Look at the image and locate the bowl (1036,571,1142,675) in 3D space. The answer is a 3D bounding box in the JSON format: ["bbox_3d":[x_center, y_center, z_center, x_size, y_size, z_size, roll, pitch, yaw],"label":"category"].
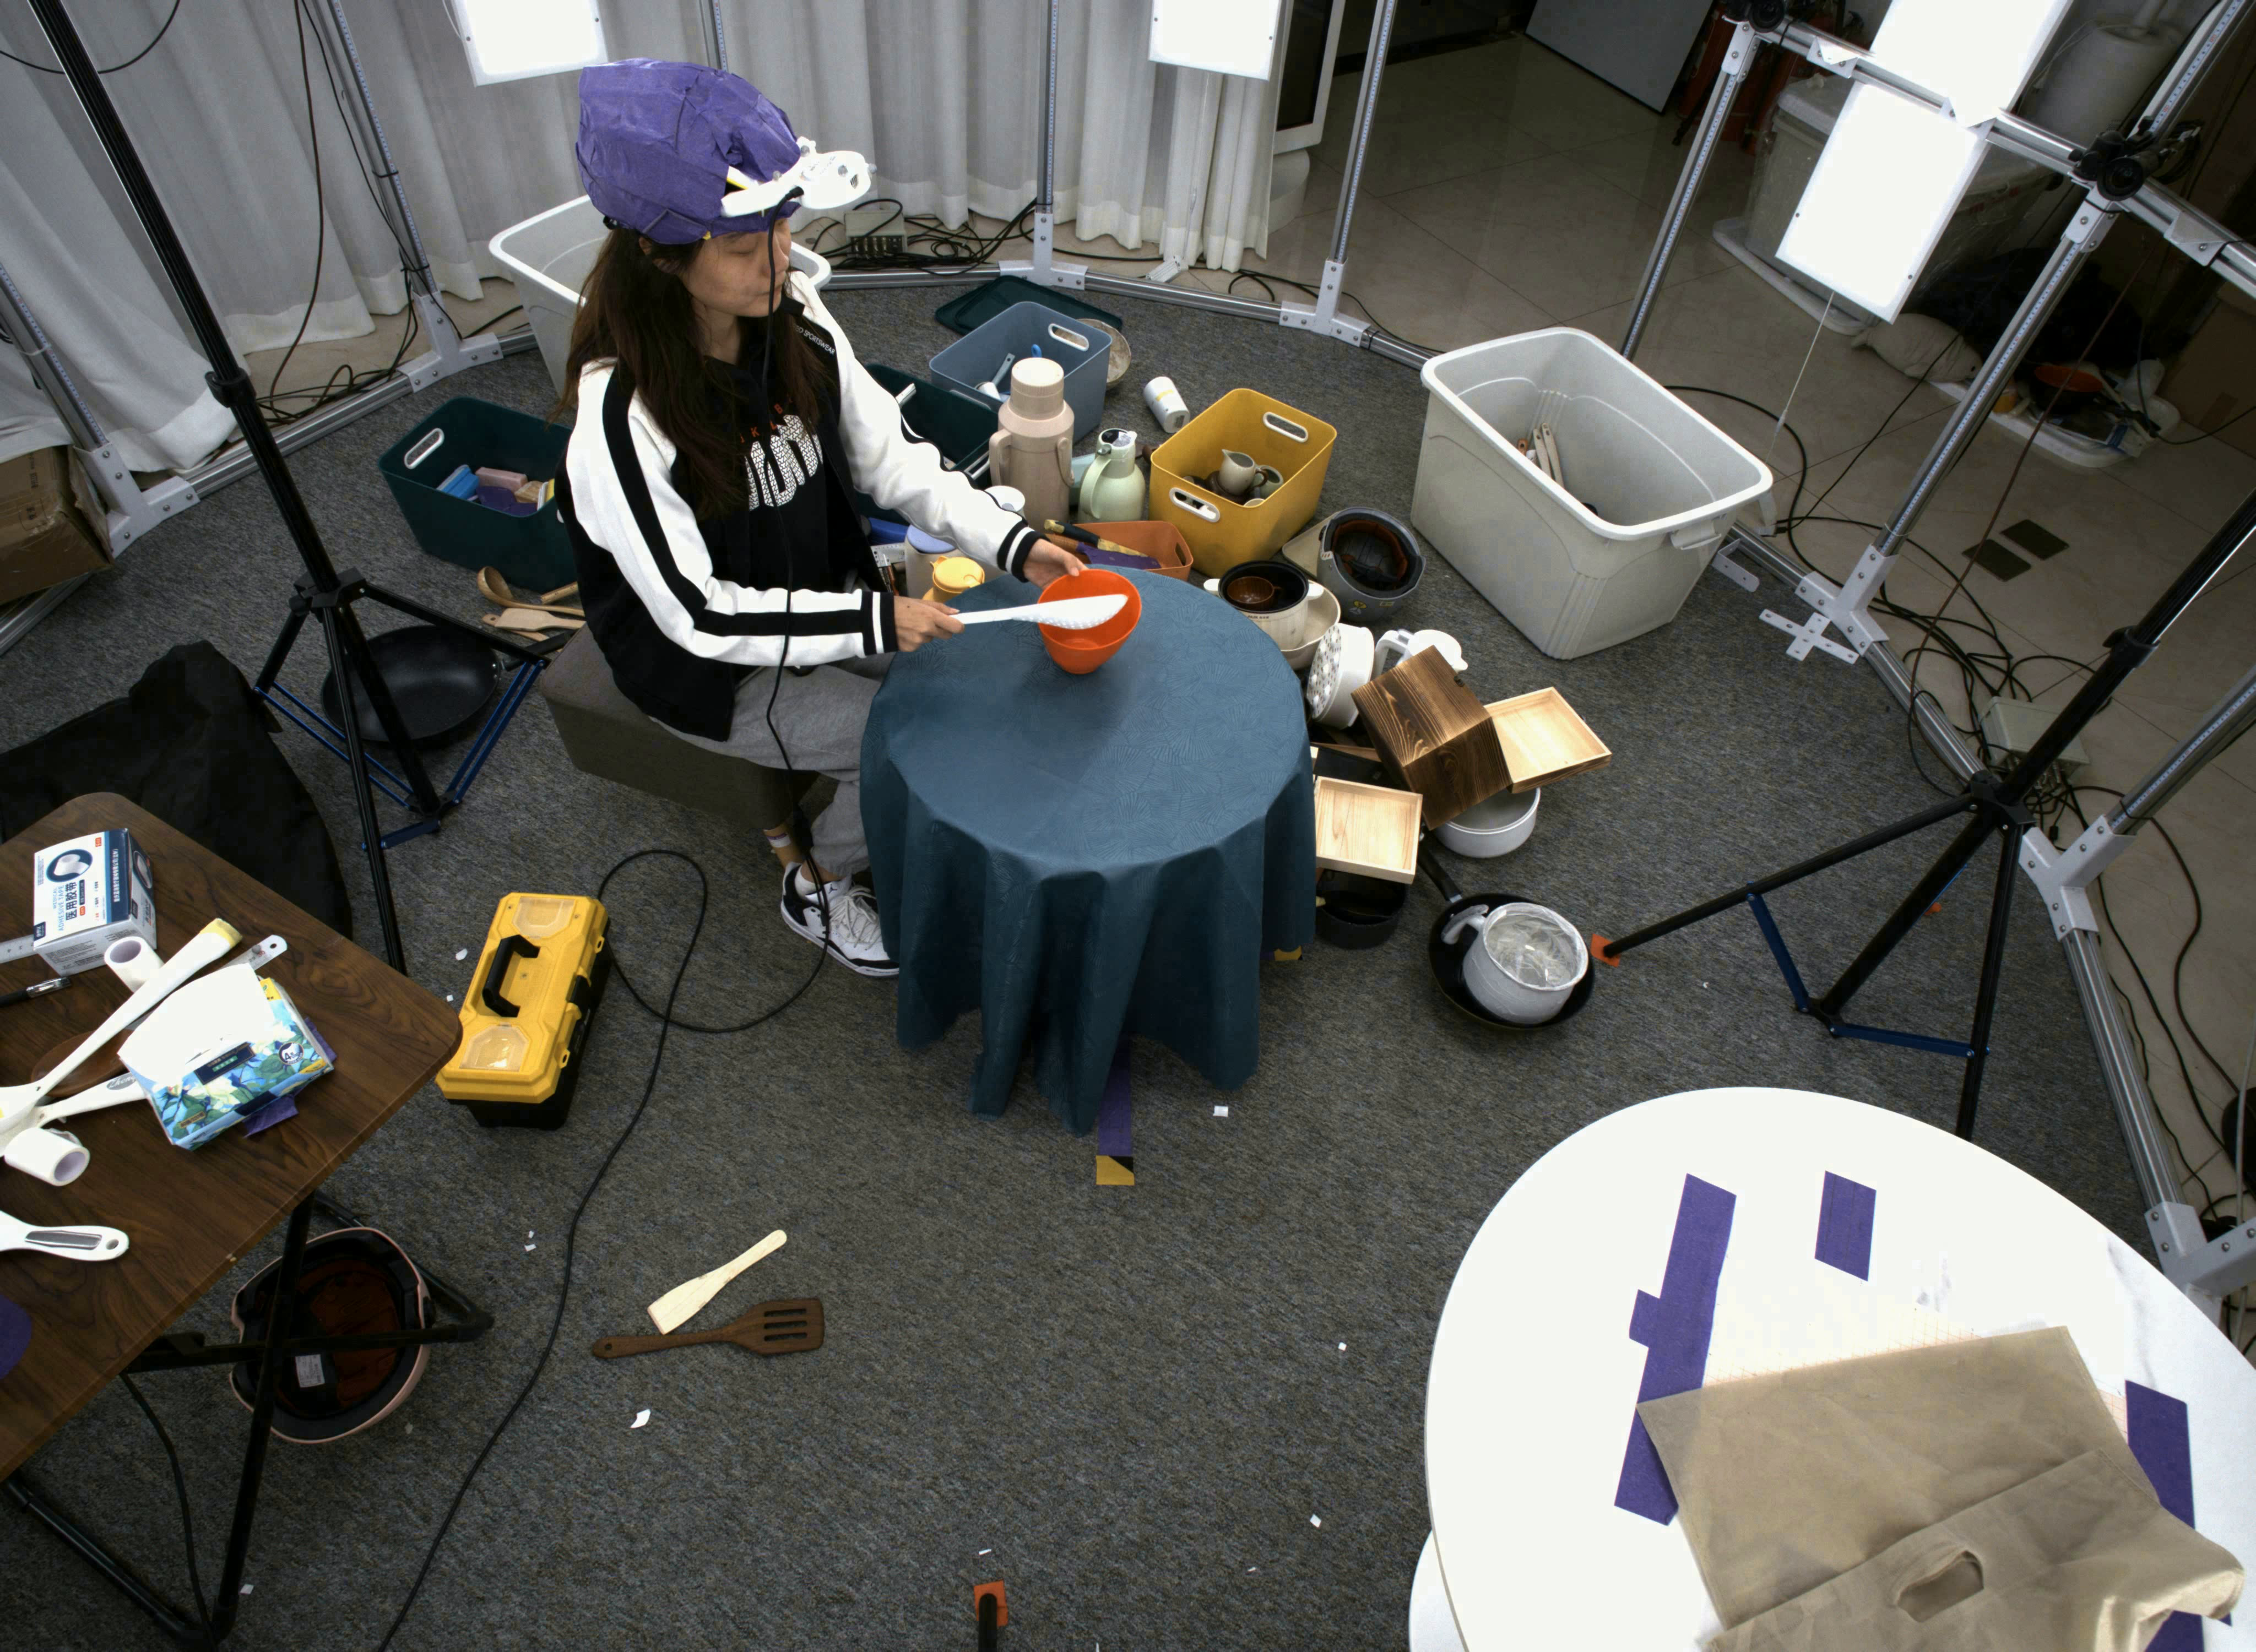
[{"bbox_3d":[-0.057,-0.278,1.831,0.148,0.102,0.151,2,53,-3],"label":"bowl"}]

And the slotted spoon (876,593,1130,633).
[{"bbox_3d":[-0.171,-0.291,1.759,0.350,0.045,0.137,-1,11,5],"label":"slotted spoon"}]
